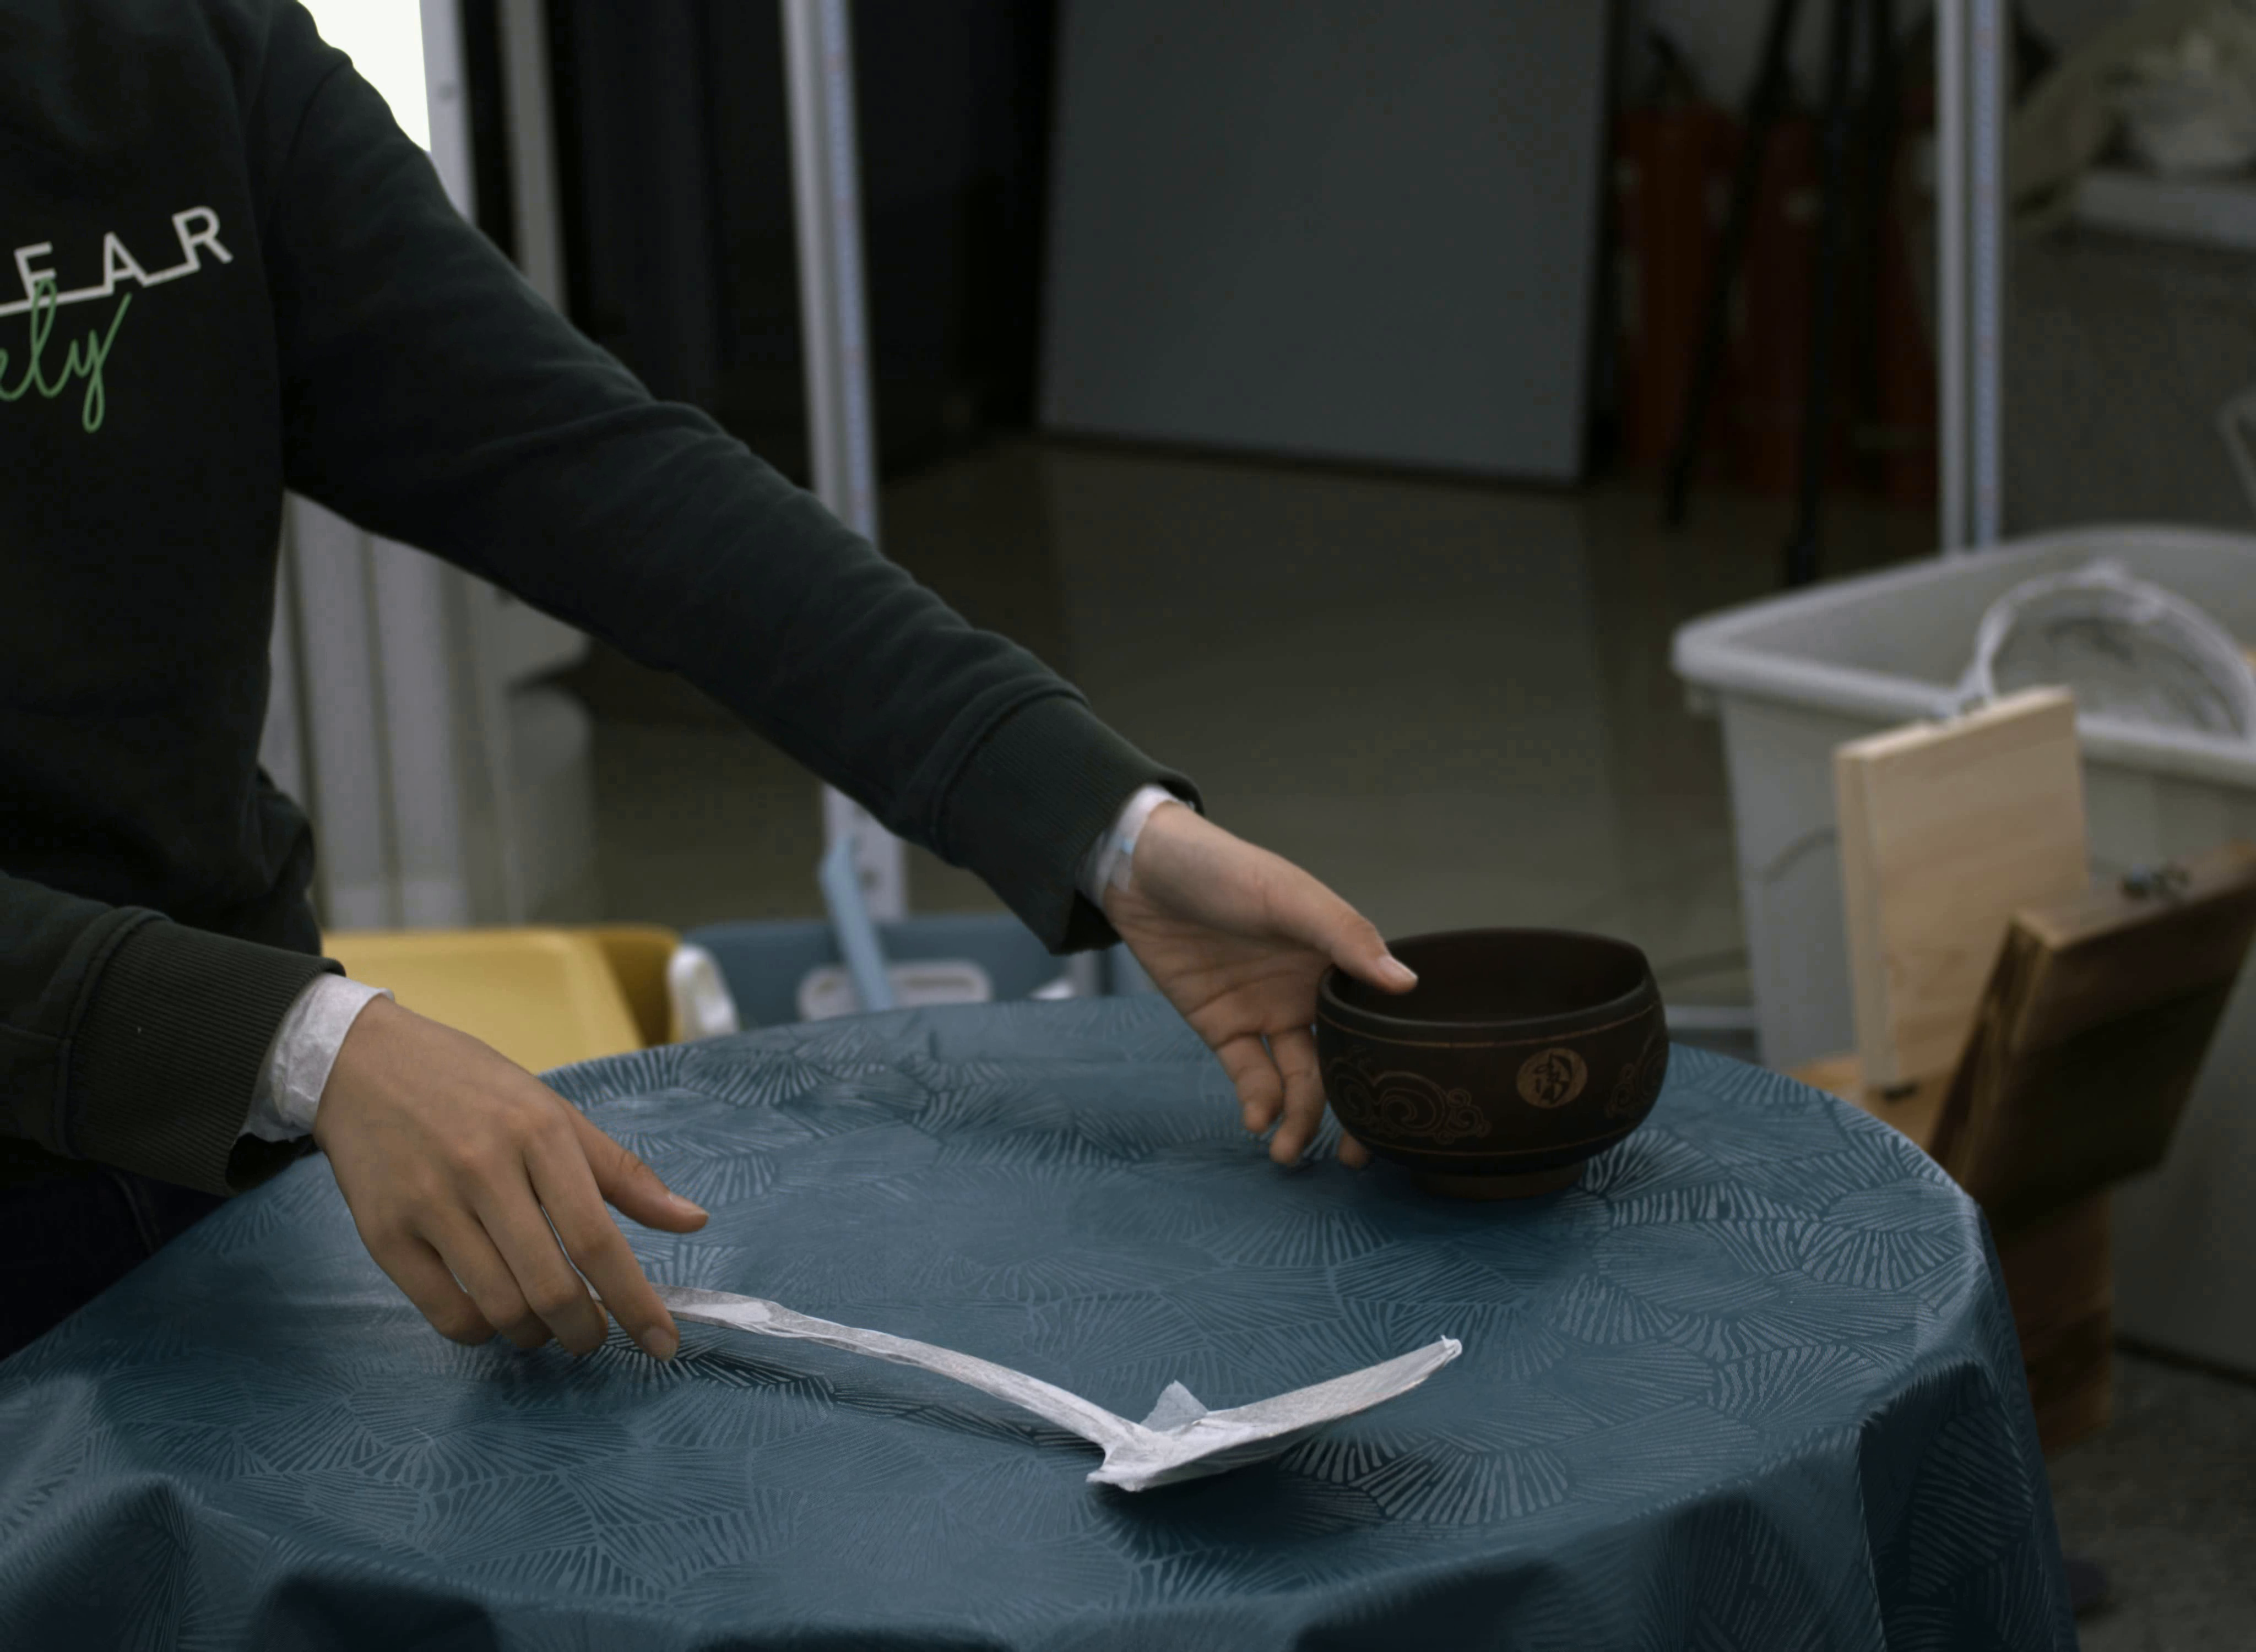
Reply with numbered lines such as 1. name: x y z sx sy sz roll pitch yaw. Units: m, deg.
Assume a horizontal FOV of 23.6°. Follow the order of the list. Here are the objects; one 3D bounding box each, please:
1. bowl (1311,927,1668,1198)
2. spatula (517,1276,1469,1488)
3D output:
1. bowl: 0.119 0.080 1.754 0.116 0.070 0.118 -5 11 0
2. spatula: -0.061 0.151 1.586 0.368 0.045 0.097 8 20 40
